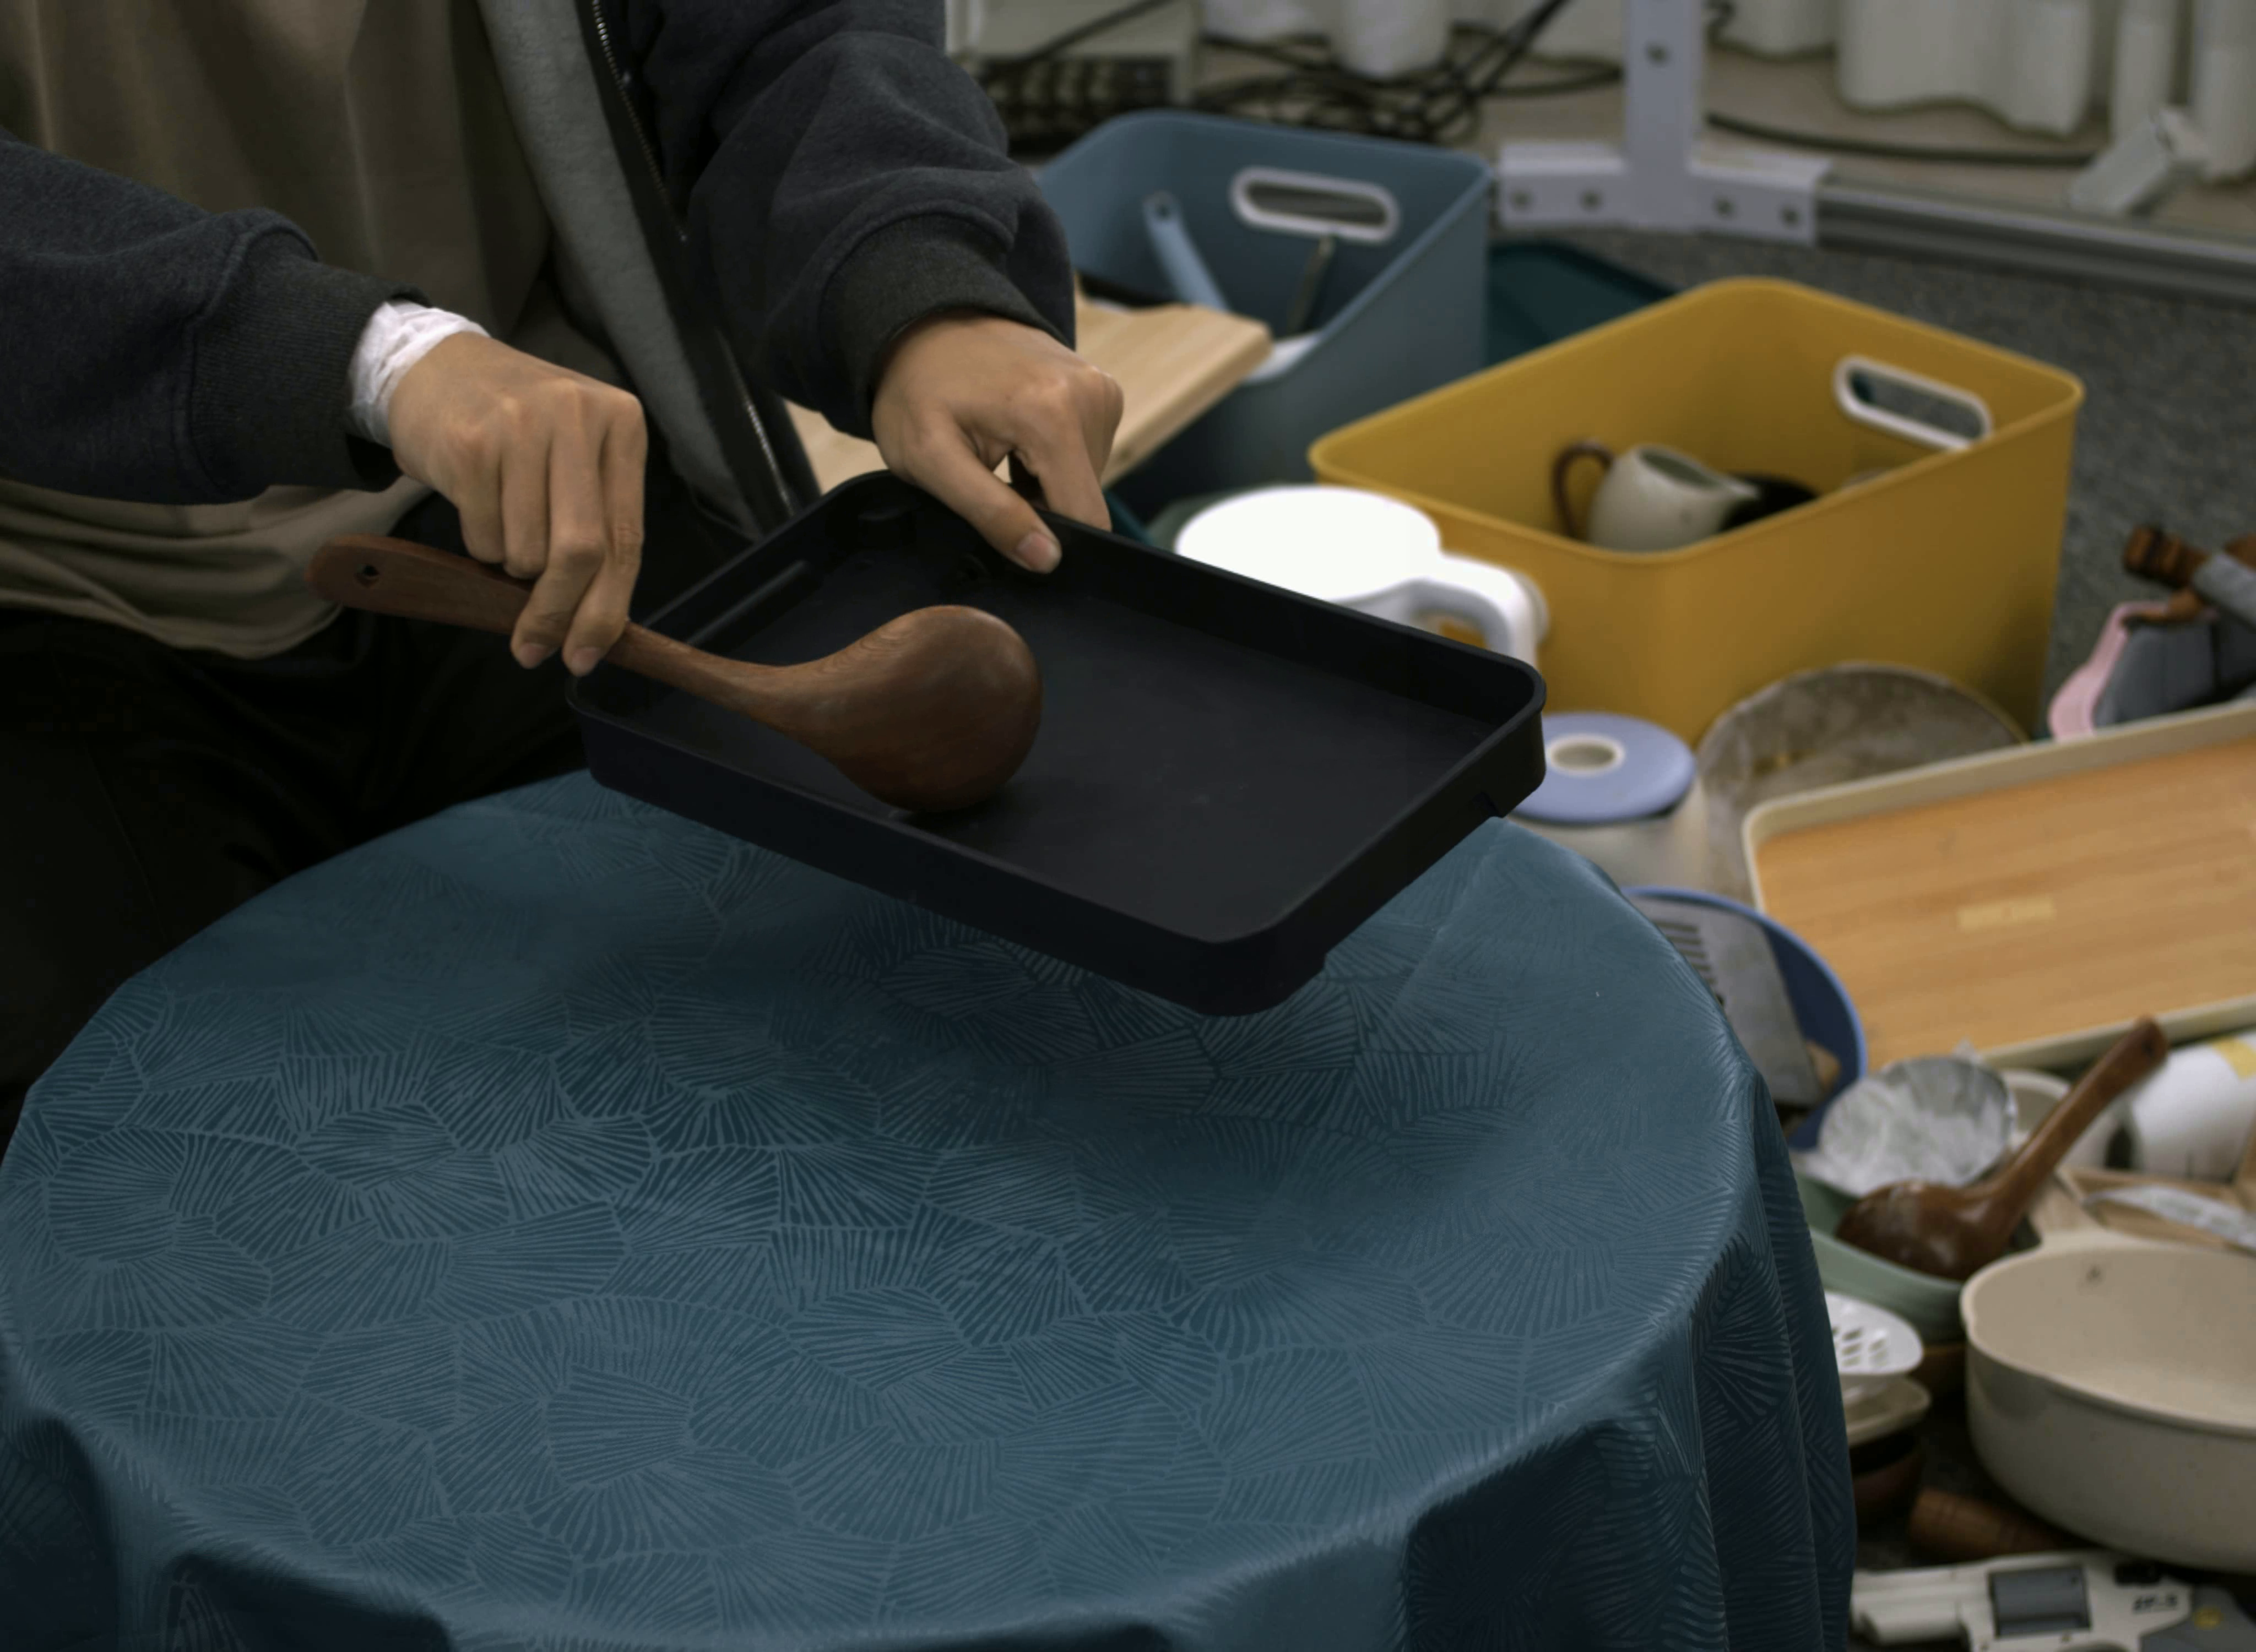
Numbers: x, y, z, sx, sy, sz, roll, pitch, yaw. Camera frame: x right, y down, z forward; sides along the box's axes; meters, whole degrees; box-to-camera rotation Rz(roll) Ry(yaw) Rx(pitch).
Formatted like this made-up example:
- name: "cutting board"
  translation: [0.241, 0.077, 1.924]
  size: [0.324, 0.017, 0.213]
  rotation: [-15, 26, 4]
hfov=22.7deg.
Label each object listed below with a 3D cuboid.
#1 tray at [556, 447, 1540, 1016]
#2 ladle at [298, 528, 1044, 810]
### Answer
- name: "tray"
  translation: [-0.029, -0.038, 1.938]
  size: [0.317, 0.036, 0.187]
  rotation: [21, 43, 35]
- name: "ladle"
  translation: [-0.155, -0.066, 1.927]
  size: [0.259, 0.075, 0.066]
  rotation: [16, 26, 12]
